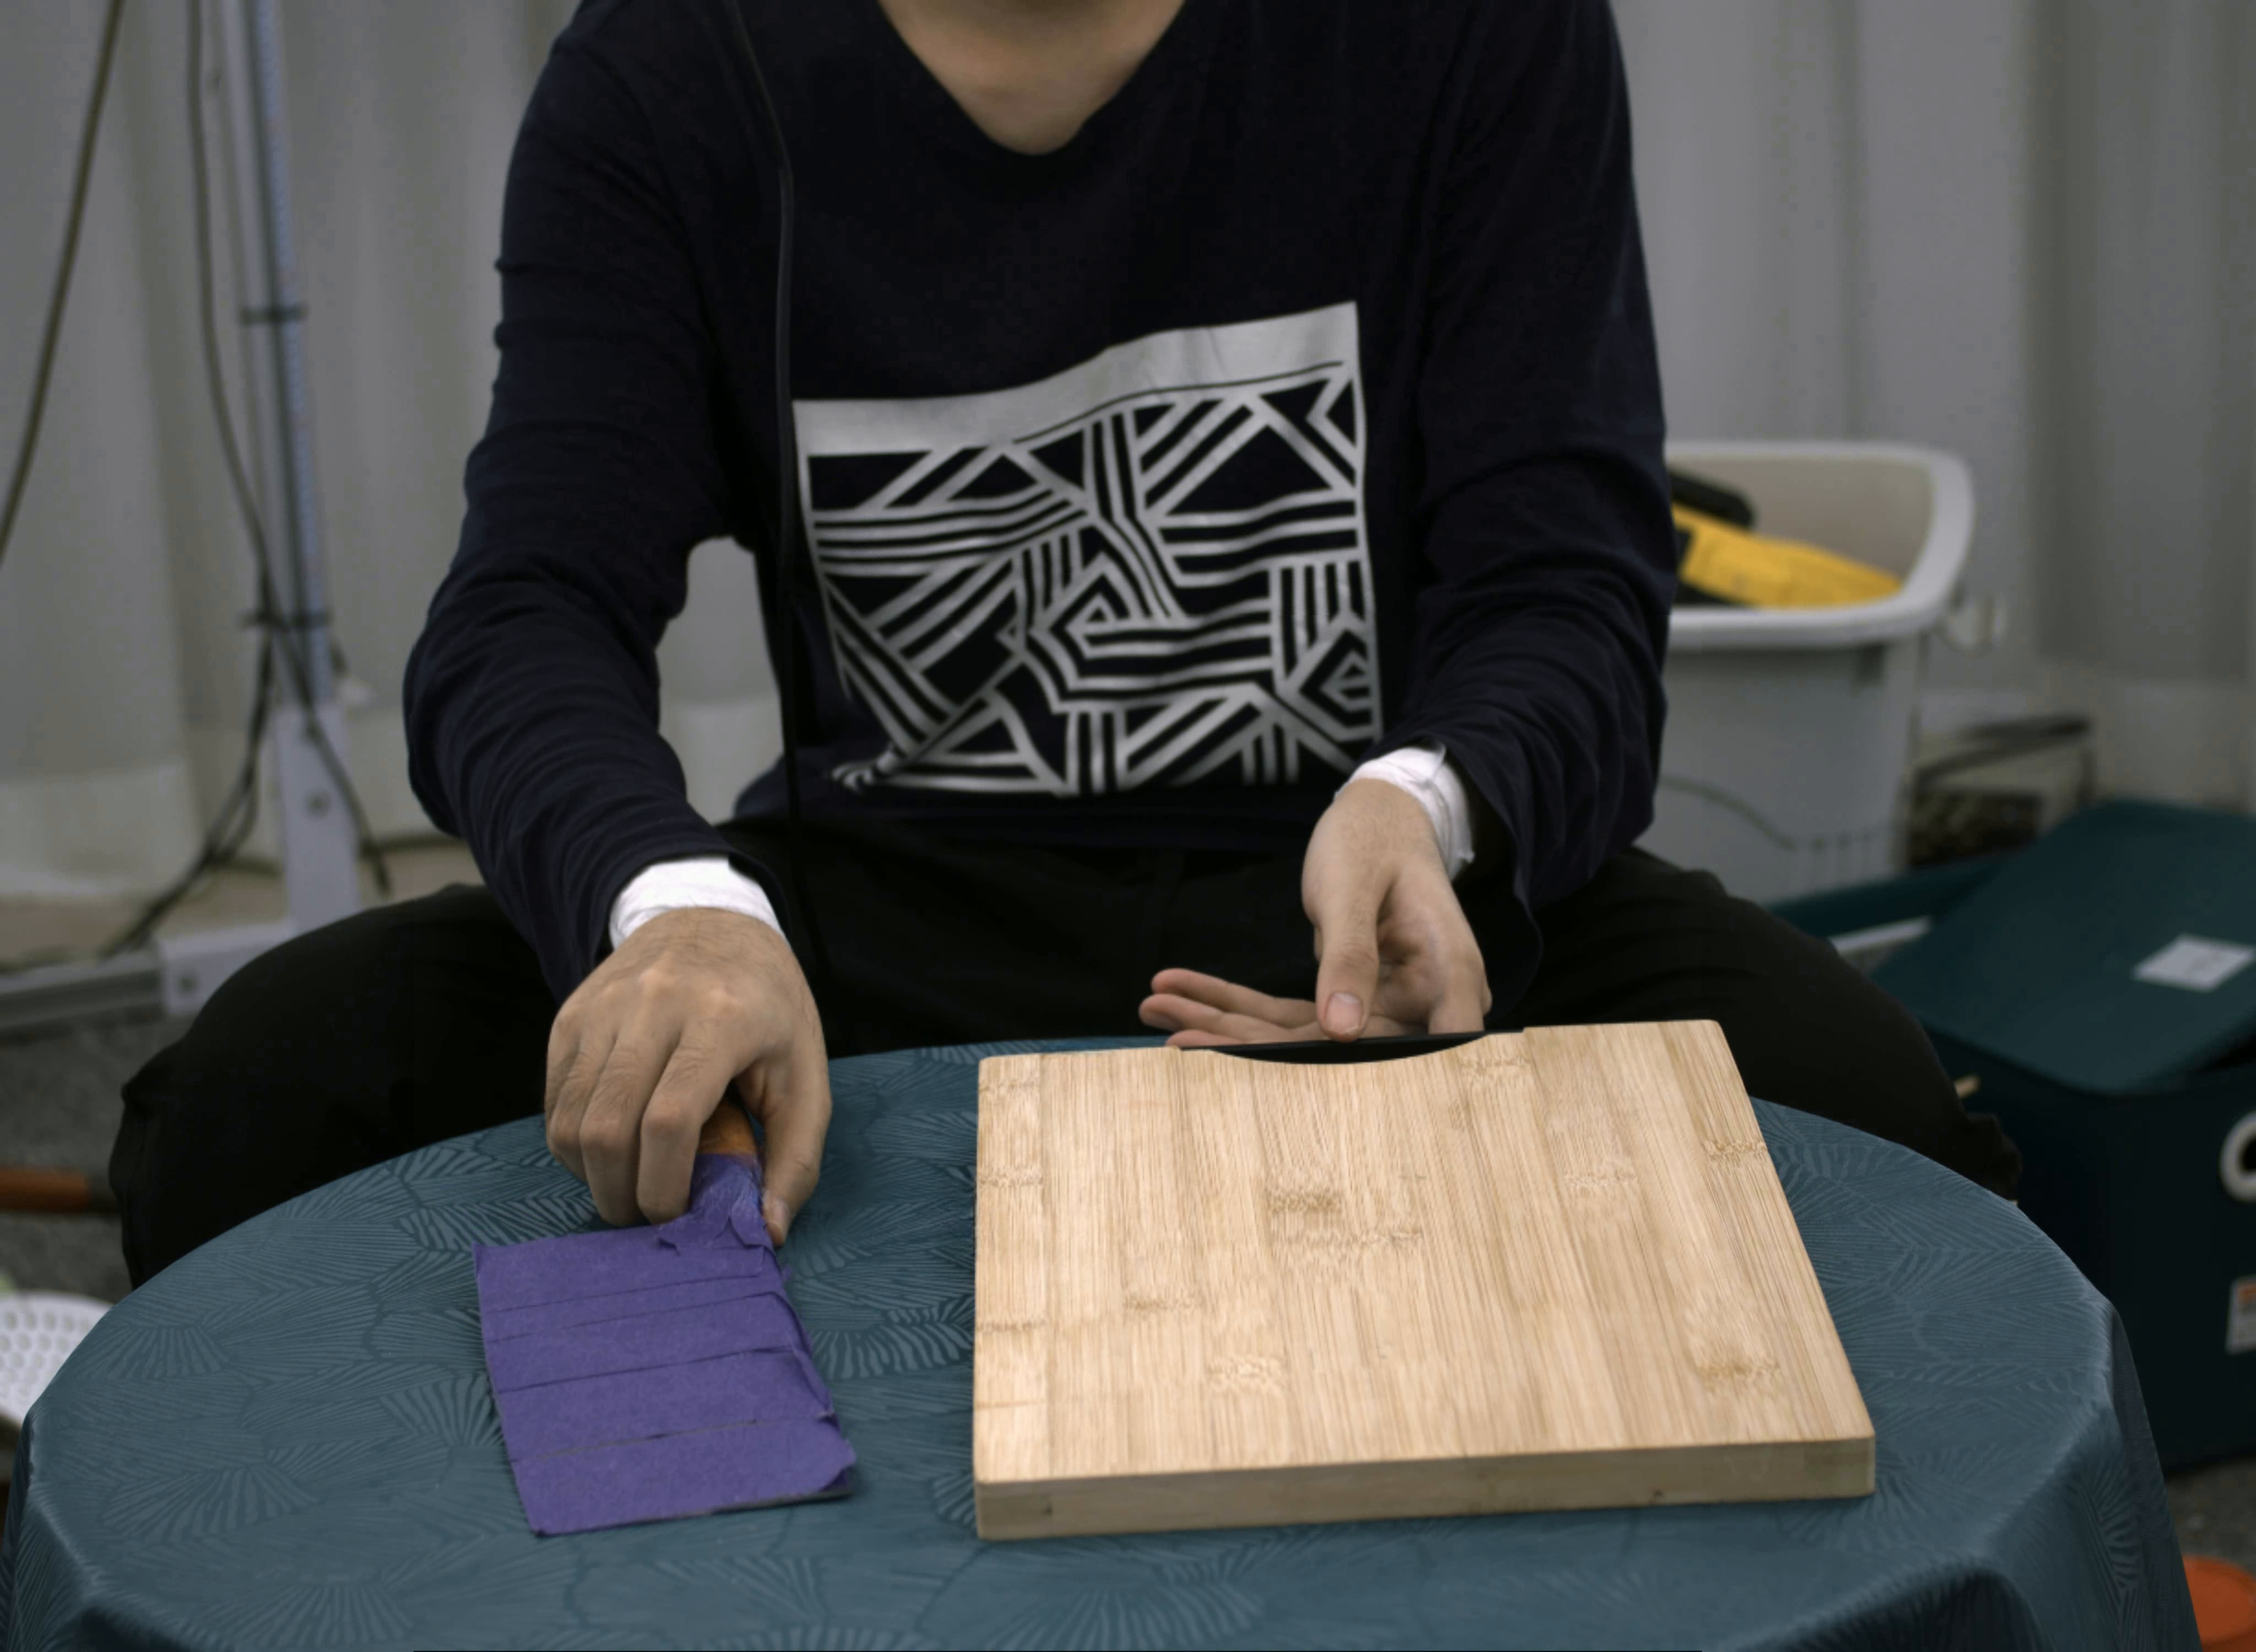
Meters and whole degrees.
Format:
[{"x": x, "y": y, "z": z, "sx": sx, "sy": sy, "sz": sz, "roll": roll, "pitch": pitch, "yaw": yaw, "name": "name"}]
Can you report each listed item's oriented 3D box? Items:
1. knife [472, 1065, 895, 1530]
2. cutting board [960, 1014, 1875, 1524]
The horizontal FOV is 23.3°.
[{"x": -0.144, "y": 0.134, "z": 1.611, "sx": 0.103, "sy": 0.032, "sz": 0.318, "roll": -6, "pitch": 16, "yaw": -10, "name": "knife"}, {"x": 0.076, "y": 0.125, "z": 1.608, "sx": 0.250, "sy": 0.023, "sz": 0.351, "roll": -3, "pitch": 17, "yaw": -1, "name": "cutting board"}]
